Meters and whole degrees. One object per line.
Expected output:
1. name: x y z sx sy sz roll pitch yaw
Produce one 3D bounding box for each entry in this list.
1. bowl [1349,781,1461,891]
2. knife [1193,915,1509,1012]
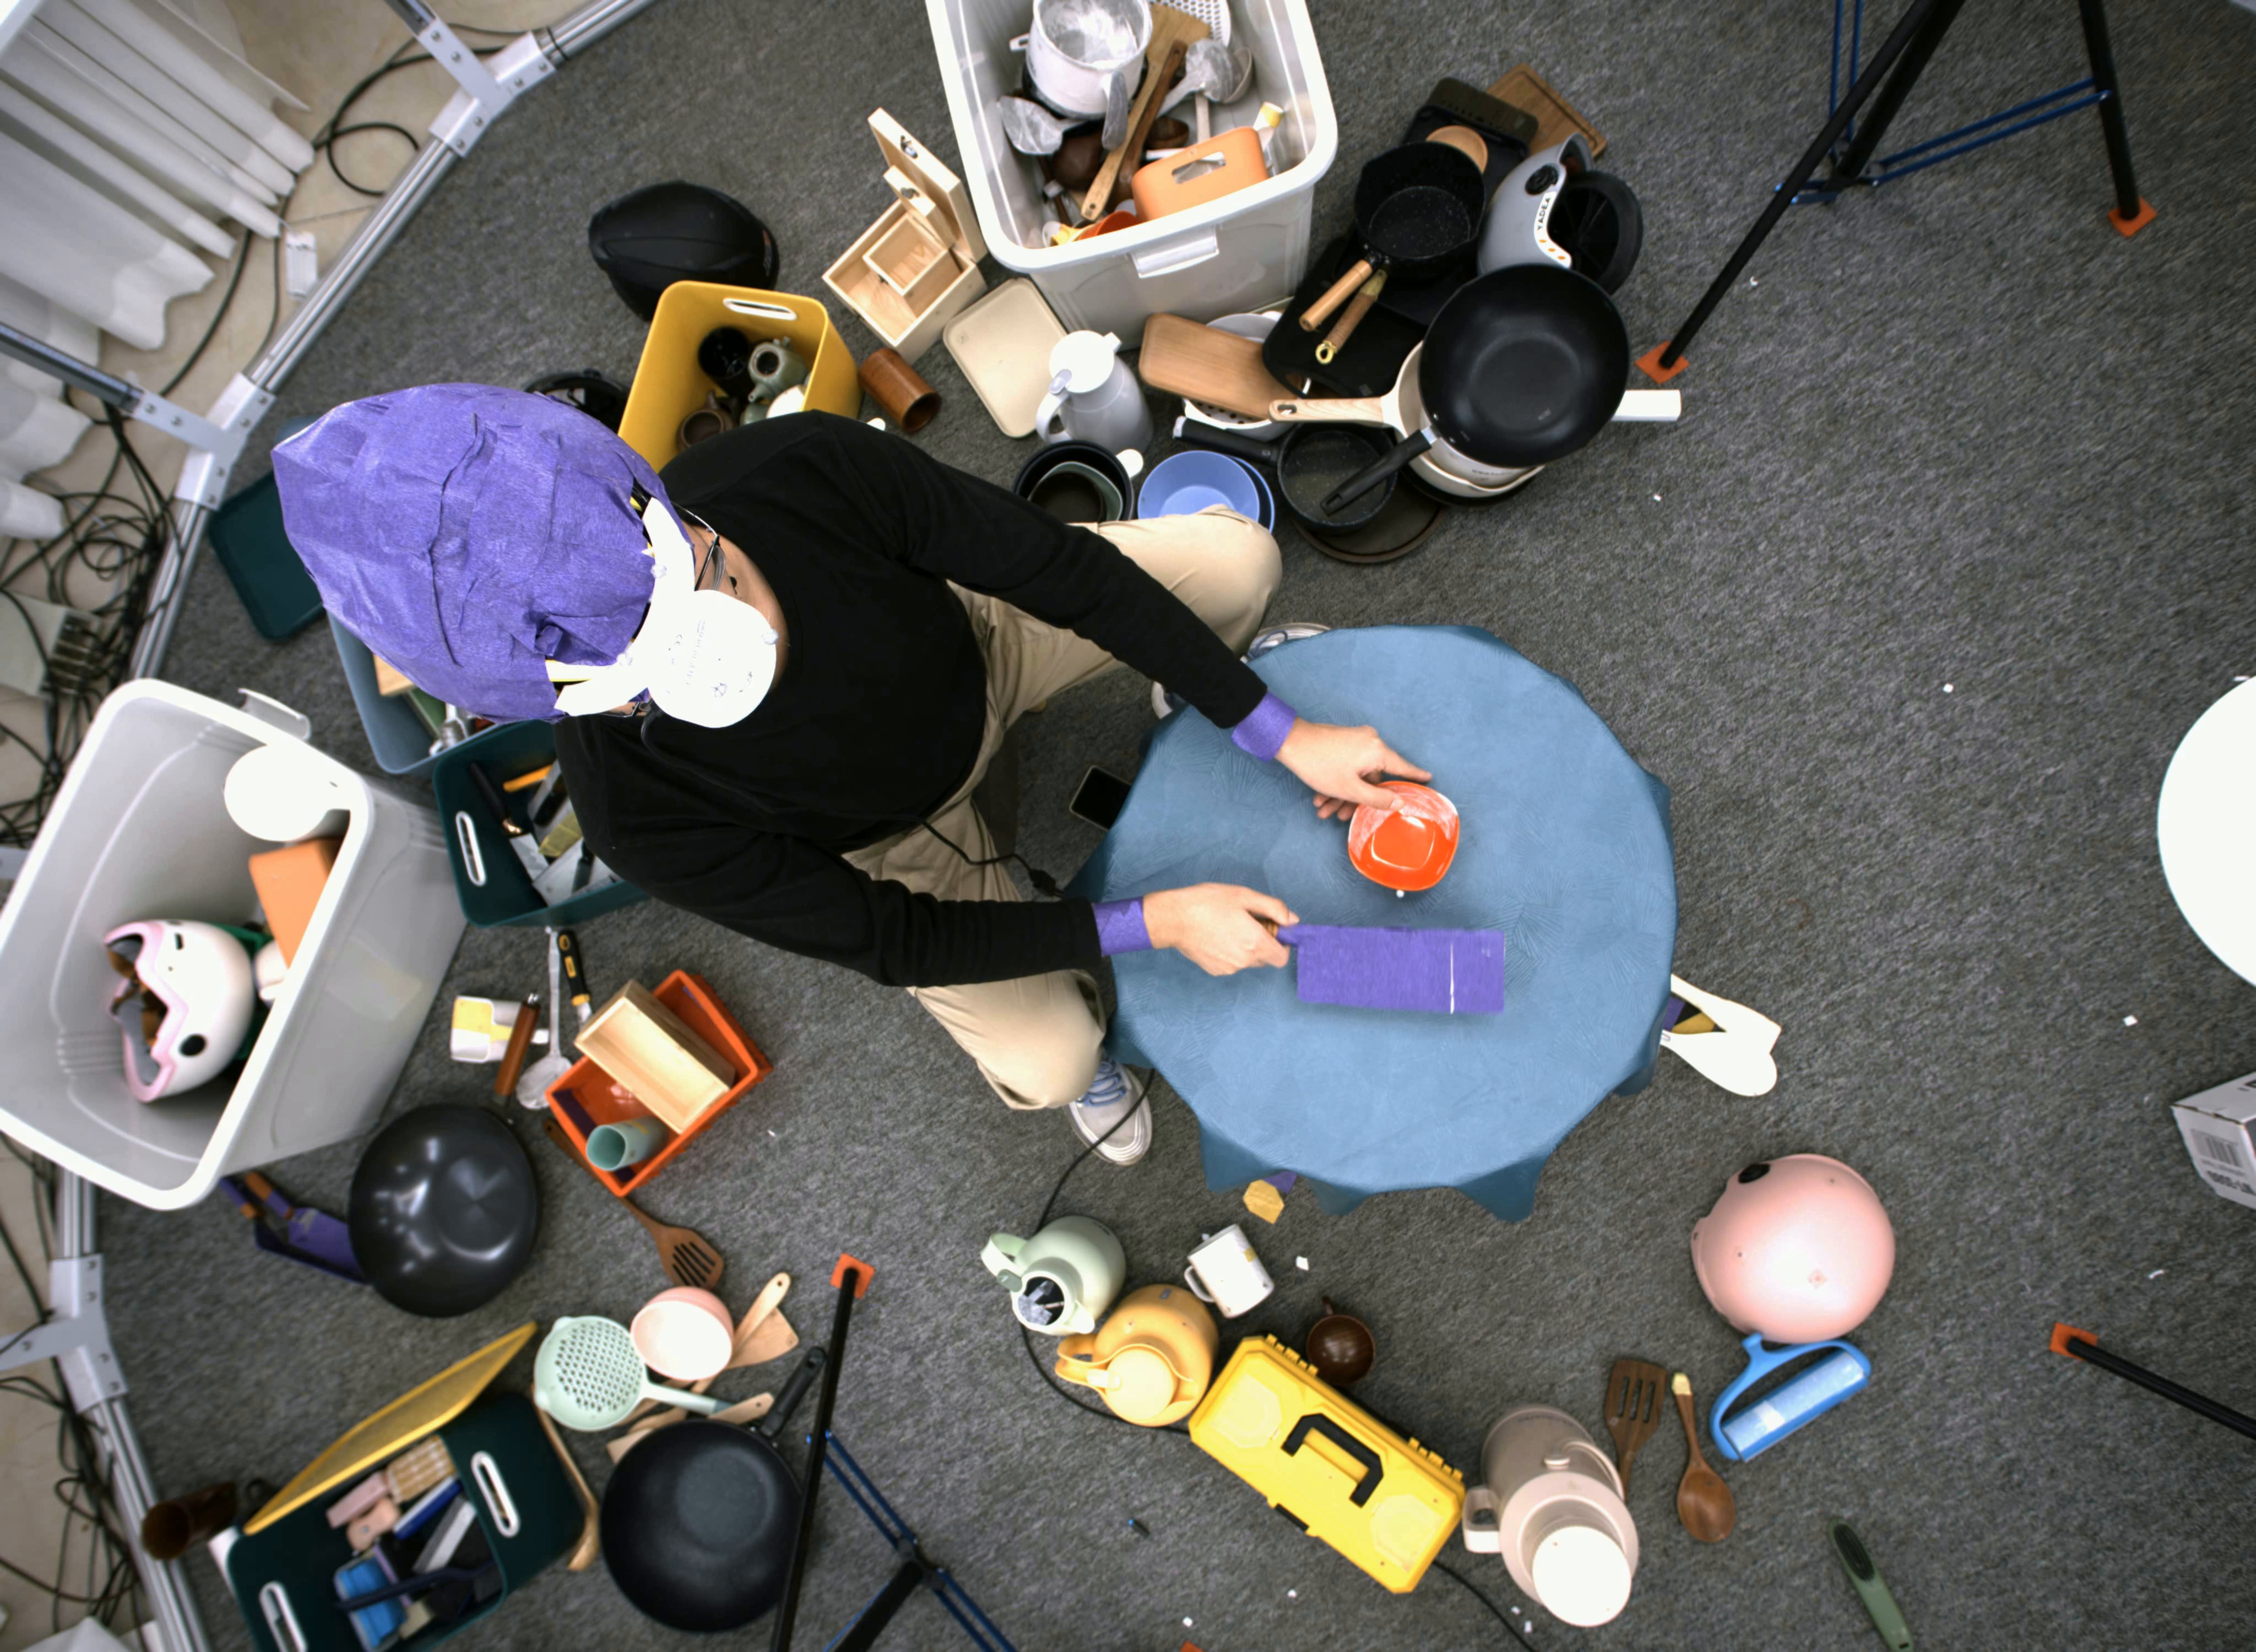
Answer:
1. bowl: 0.286 0.010 1.432 0.119 0.051 0.118 -1 87 9
2. knife: 0.223 0.137 1.398 0.317 0.031 0.105 1 115 17
